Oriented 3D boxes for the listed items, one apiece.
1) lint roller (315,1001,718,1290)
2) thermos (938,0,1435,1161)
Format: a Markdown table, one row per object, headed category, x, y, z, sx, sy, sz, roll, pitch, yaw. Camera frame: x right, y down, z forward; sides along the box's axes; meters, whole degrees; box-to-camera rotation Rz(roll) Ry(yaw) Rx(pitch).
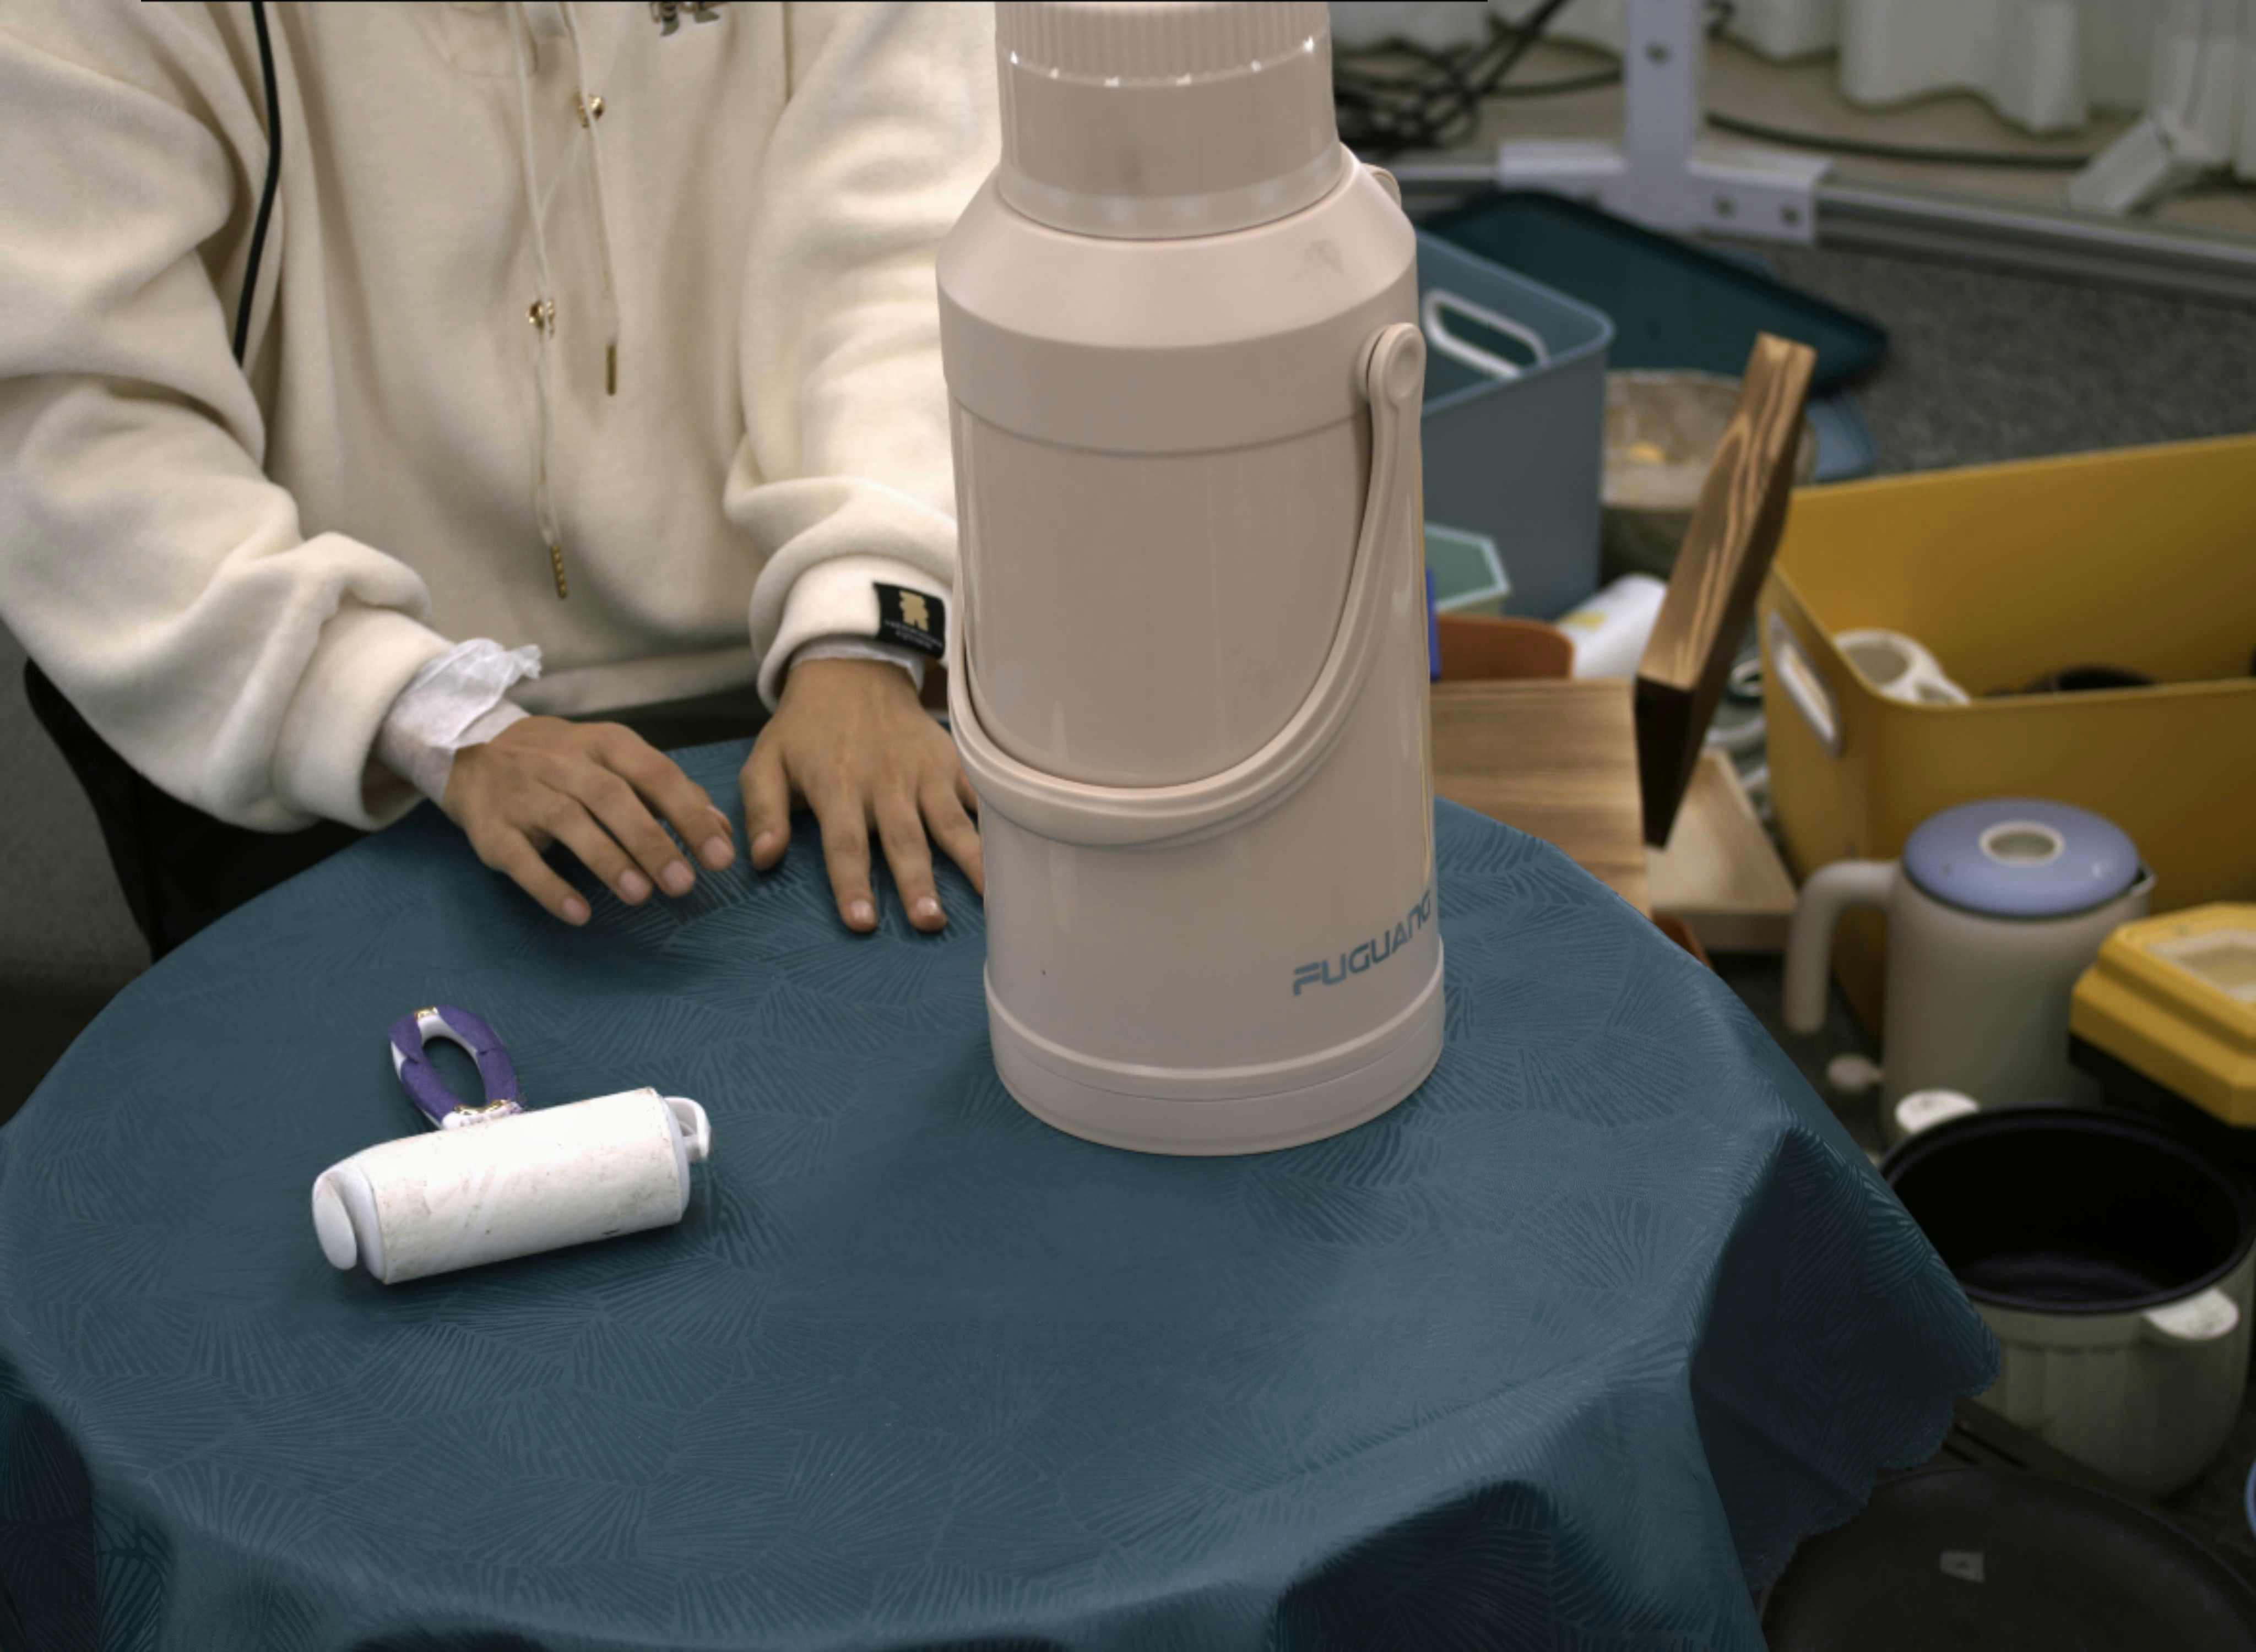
| category | x | y | z | sx | sy | sz | roll | pitch | yaw |
| --- | --- | --- | --- | --- | --- | --- | --- | --- | --- |
| lint roller | -0.217 | 0.090 | 1.893 | 0.133 | 0.049 | 0.183 | -11 | 30 | -13 |
| thermos | 0.029 | -0.105 | 1.872 | 0.174 | 0.402 | 0.210 | 14 | 31 | 32 |
